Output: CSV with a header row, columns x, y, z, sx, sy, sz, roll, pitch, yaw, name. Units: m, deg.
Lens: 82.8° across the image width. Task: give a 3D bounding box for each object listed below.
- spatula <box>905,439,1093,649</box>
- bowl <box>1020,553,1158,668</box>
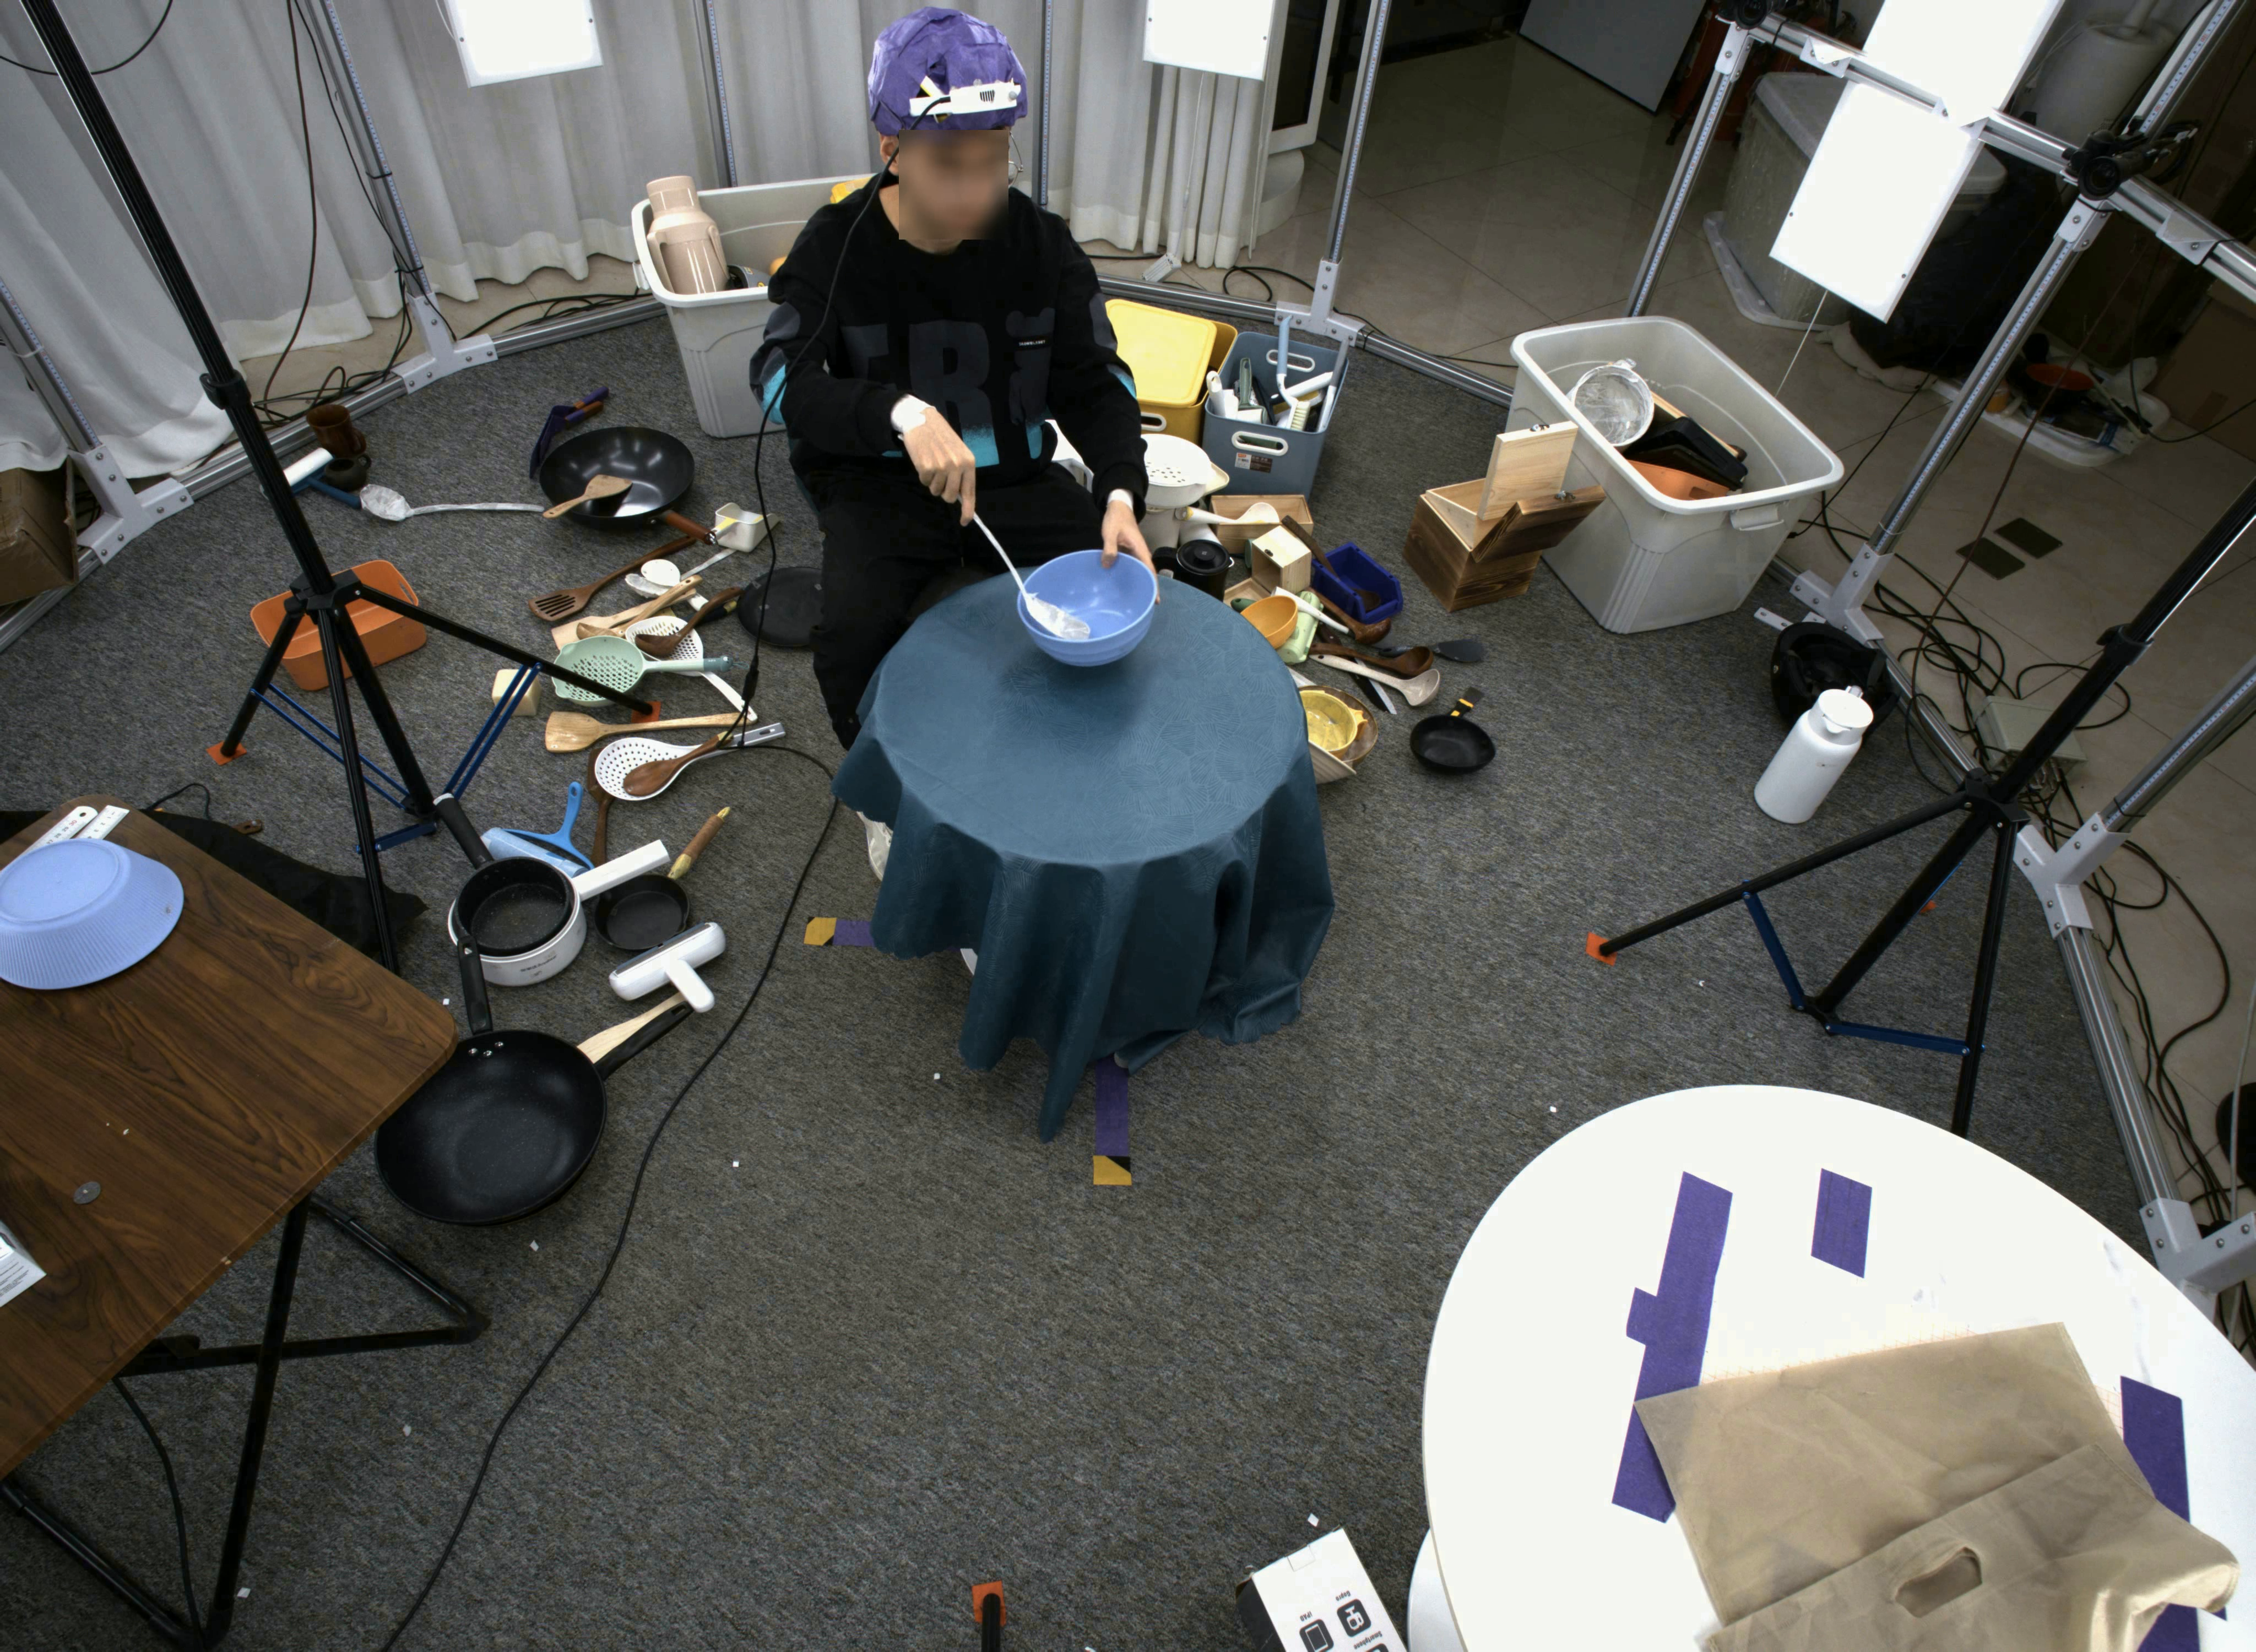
x,y,z,sx,sy,sz,roll,pitch,yaw,name
-0.174,-0.382,1.757,0.044,0.361,0.100,-32,16,21,spatula
-0.049,-0.292,1.837,0.196,0.093,0.201,-6,47,6,bowl
